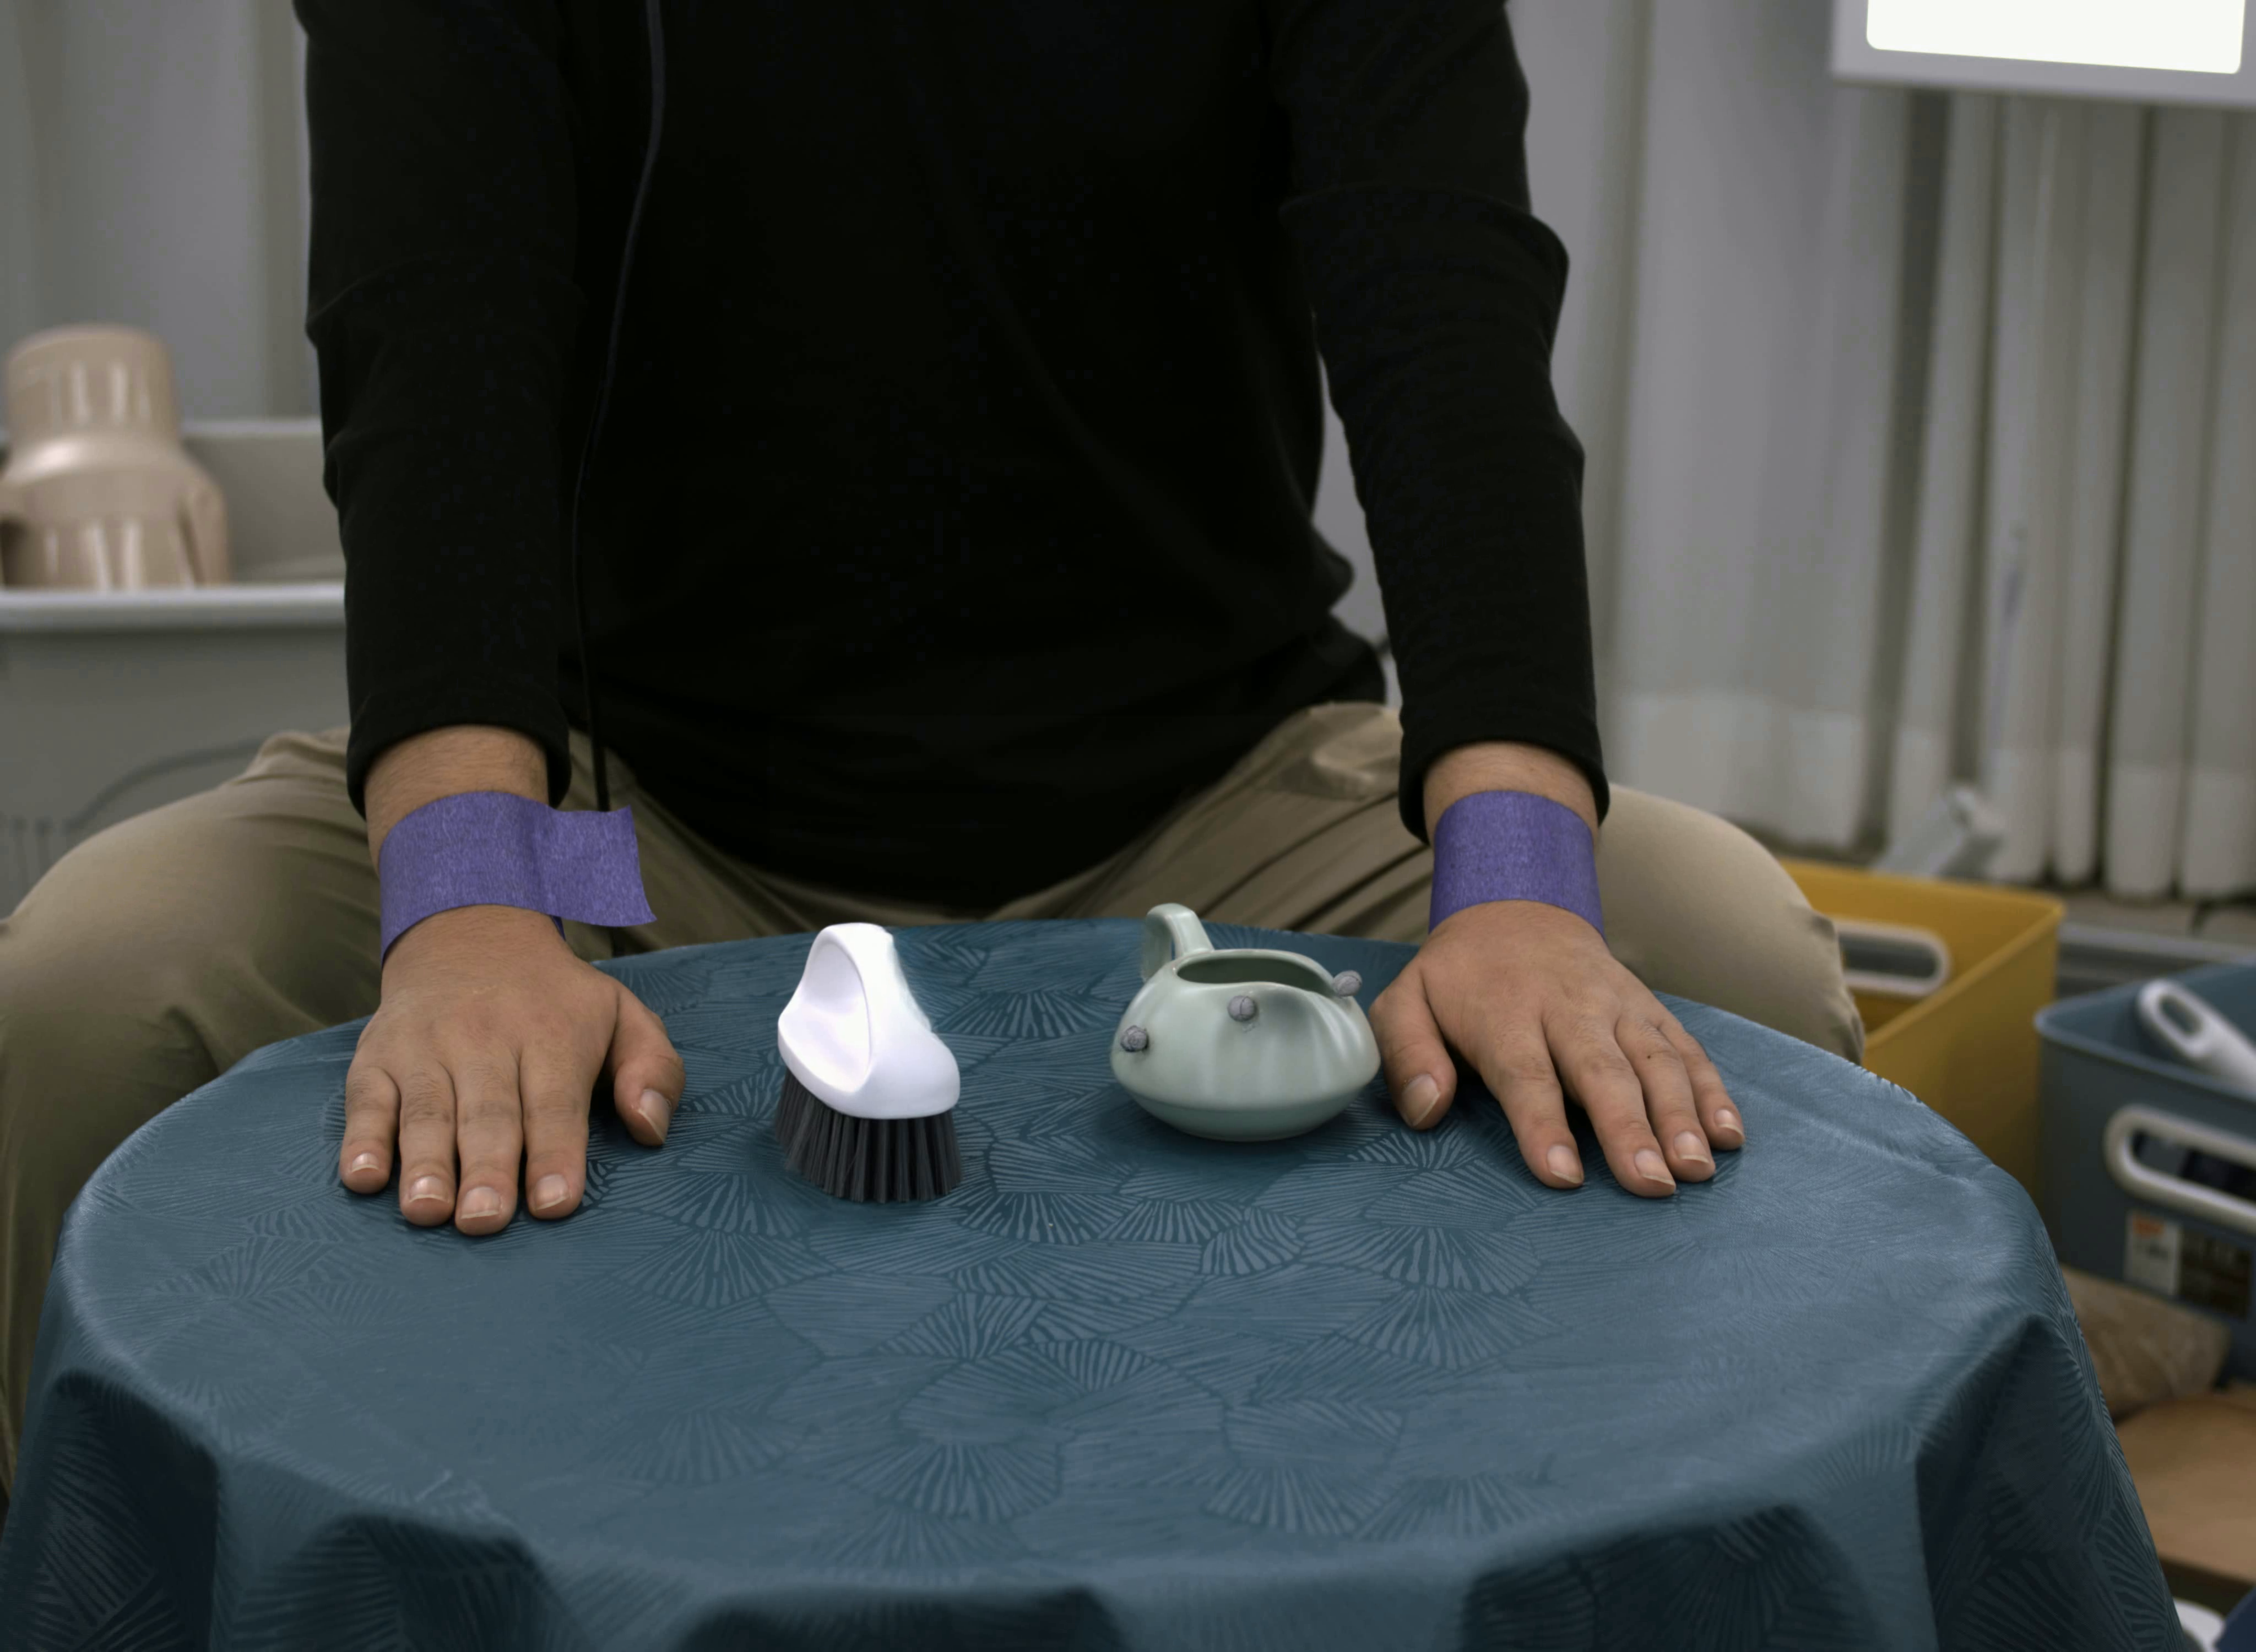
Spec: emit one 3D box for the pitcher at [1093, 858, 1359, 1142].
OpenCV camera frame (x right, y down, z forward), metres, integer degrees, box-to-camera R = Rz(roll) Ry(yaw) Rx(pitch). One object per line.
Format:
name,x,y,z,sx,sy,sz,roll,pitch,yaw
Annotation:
pitcher,0.028,0.058,1.700,0.086,0.061,0.106,-13,35,-9

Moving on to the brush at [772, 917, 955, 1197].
brush,-0.083,0.067,1.643,0.050,0.073,0.098,-2,17,-15
